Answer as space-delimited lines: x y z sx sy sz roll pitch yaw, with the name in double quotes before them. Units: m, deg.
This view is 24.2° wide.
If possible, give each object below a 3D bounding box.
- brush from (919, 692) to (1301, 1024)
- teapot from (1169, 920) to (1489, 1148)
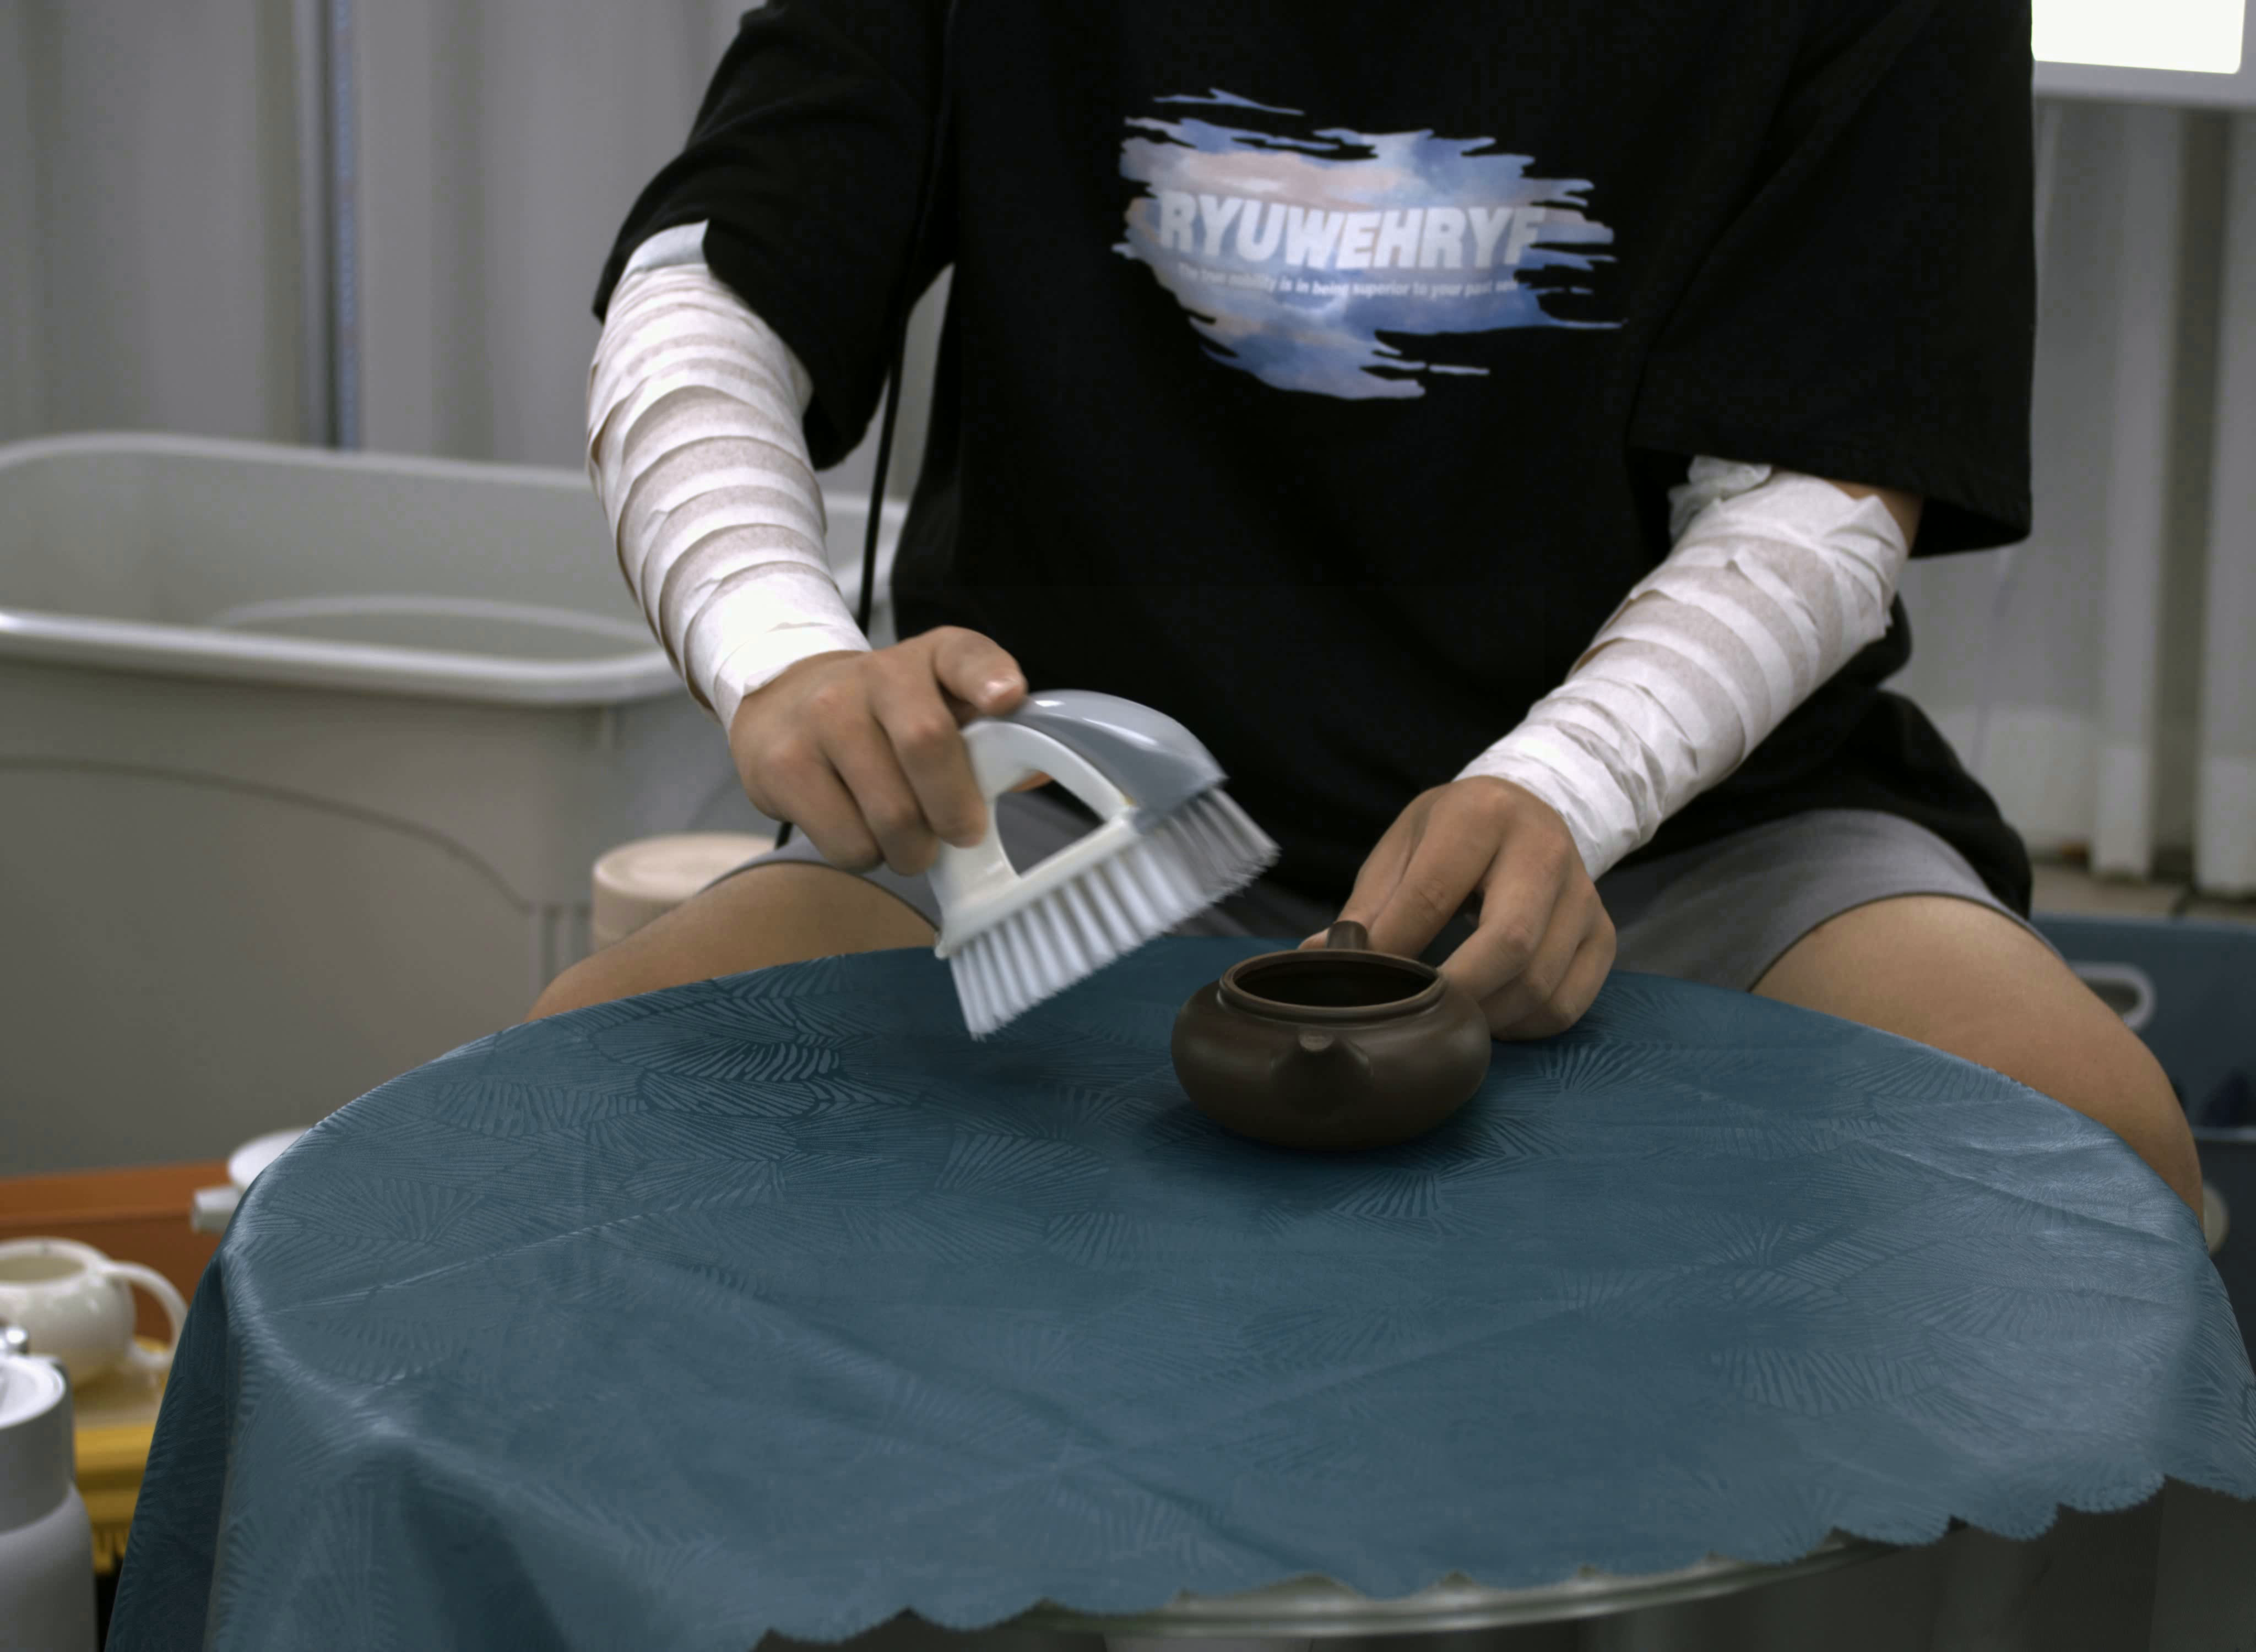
"brush" -0.011 -0.002 1.670 0.061 0.094 0.175 -35 5 -32
"teapot" 0.064 0.068 1.687 0.102 0.054 0.152 2 15 0
